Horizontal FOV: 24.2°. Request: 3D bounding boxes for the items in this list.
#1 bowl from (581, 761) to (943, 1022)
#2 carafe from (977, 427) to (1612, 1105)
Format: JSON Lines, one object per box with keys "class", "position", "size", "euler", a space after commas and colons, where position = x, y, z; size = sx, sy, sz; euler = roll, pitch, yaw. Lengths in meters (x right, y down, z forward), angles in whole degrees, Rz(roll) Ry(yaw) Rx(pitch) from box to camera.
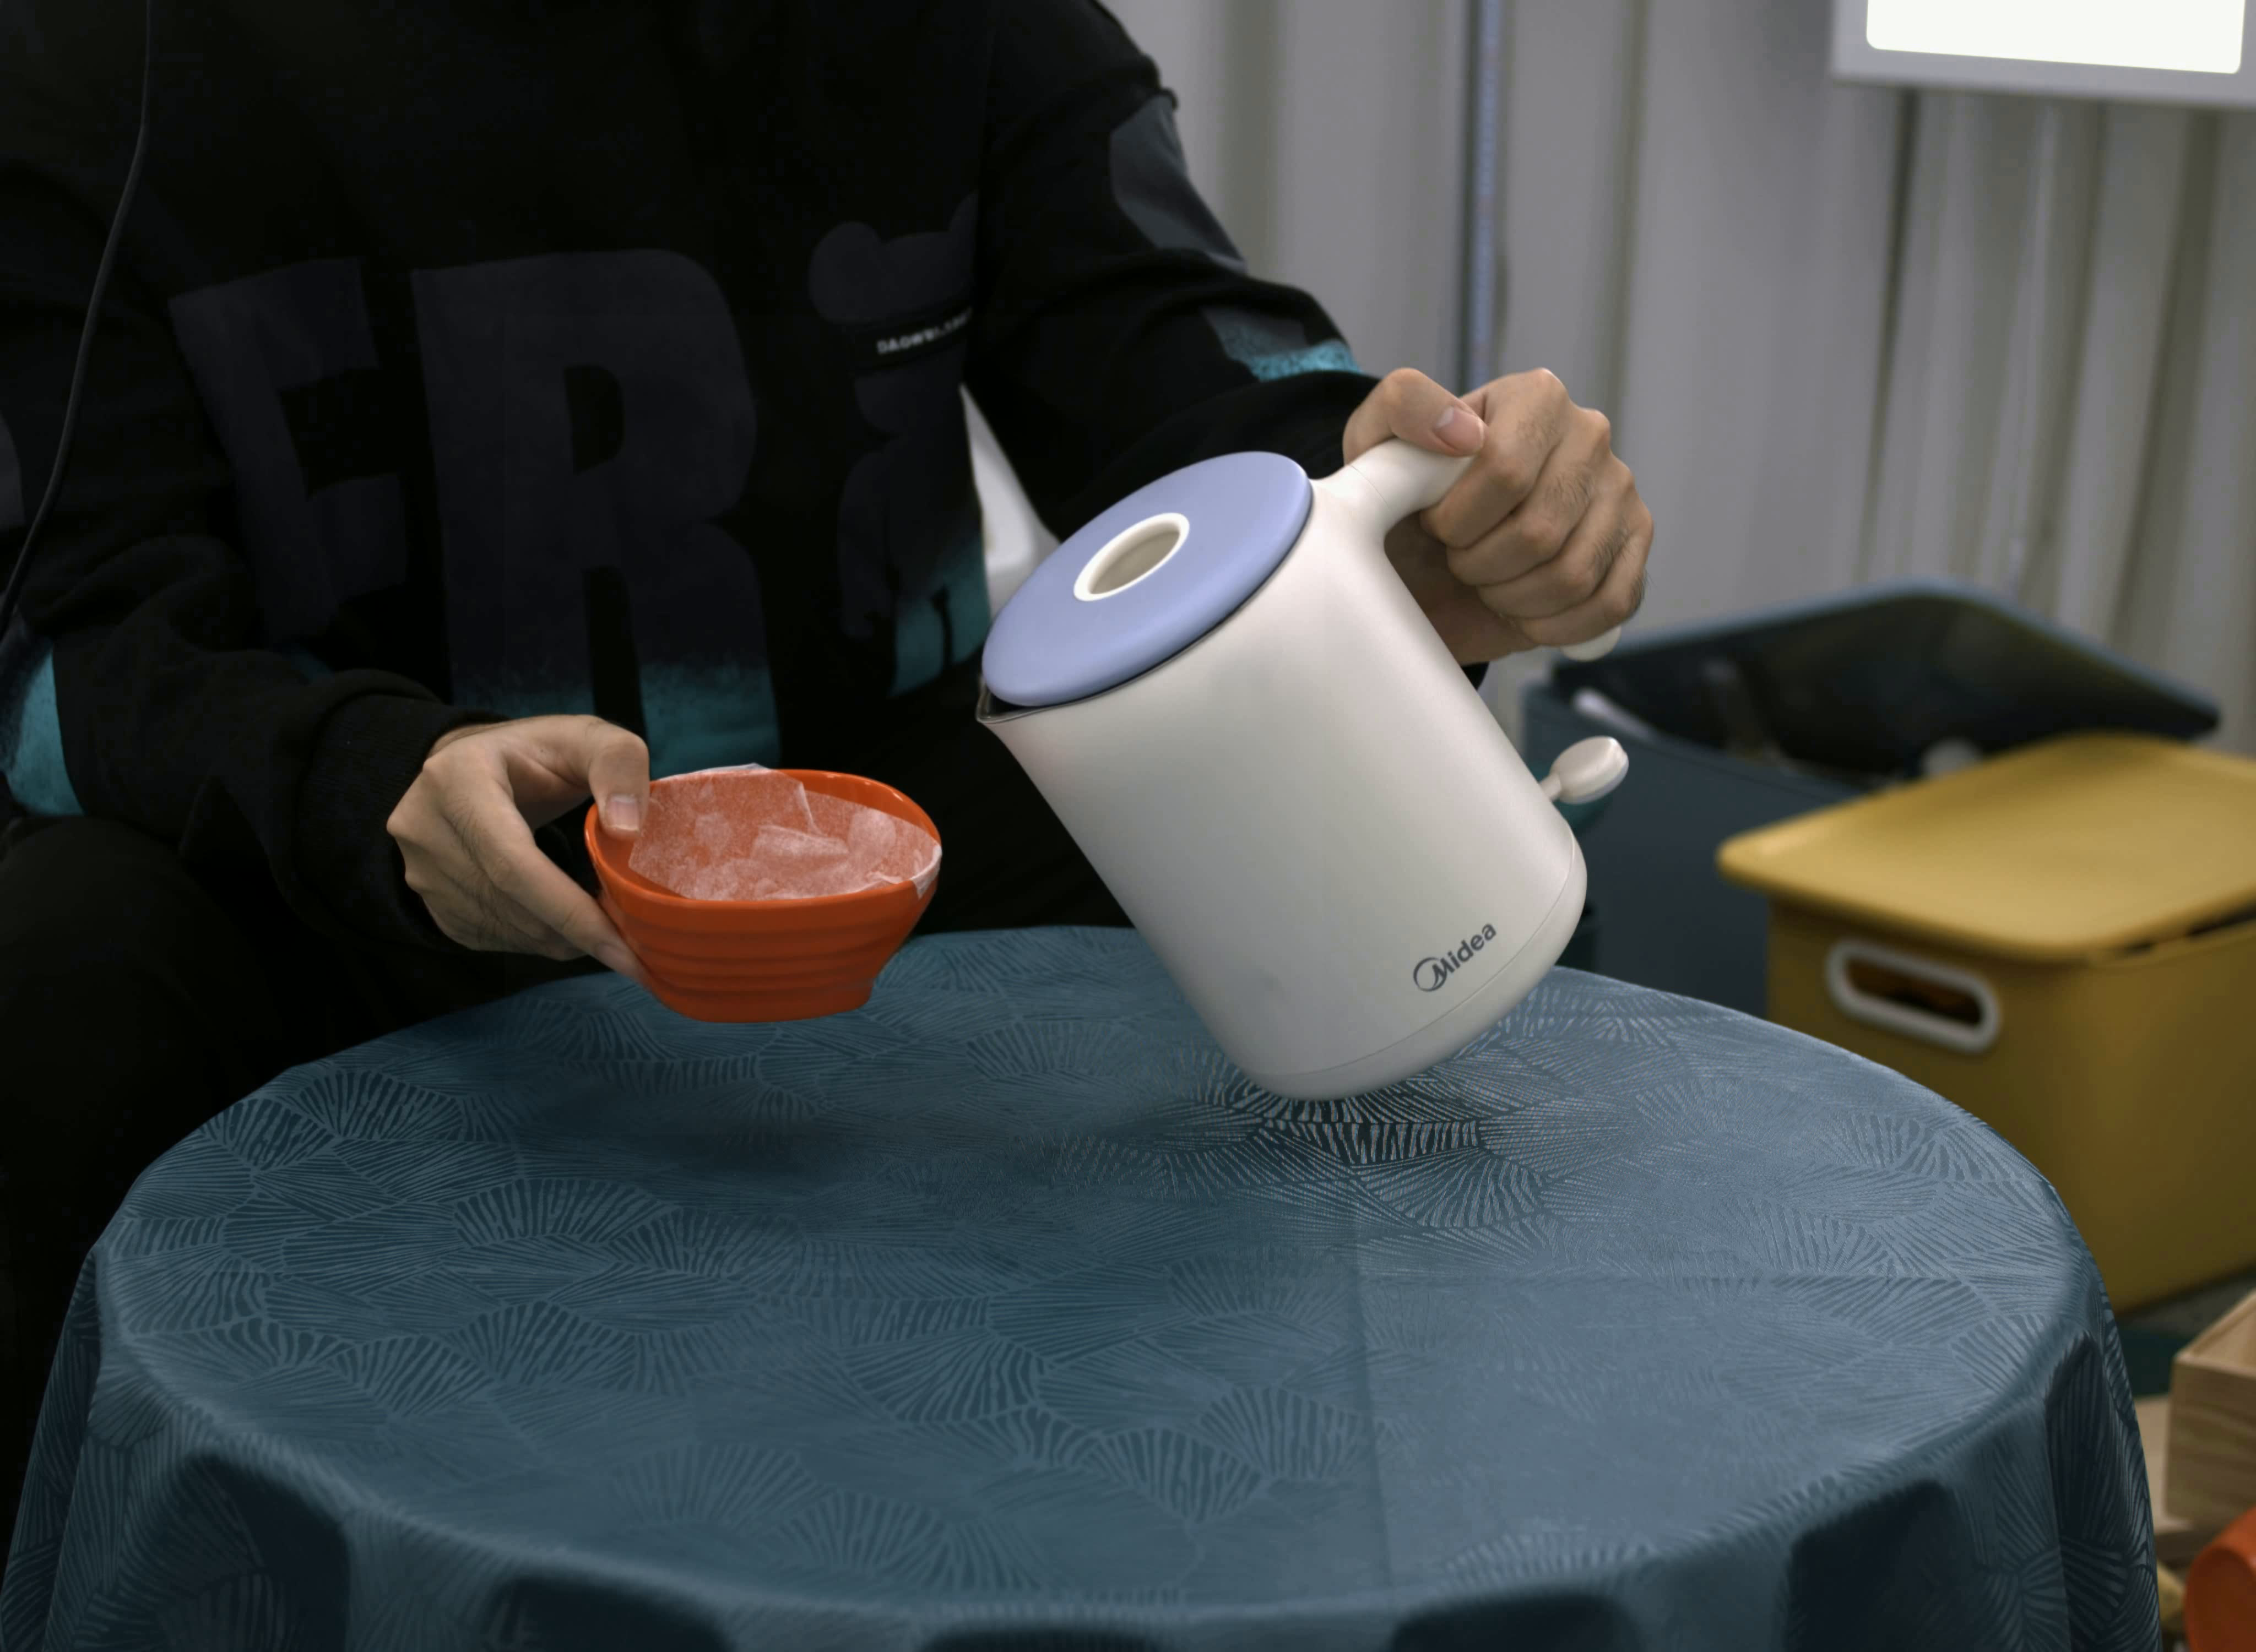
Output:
{"class": "bowl", "position": [-0.115, 0.023, 1.643], "size": [0.118, 0.052, 0.118], "euler": [2, 24, 0]}
{"class": "carafe", "position": [0.067, -0.030, 1.654], "size": [0.191, 0.184, 0.130], "euler": [-37, 25, -11]}
